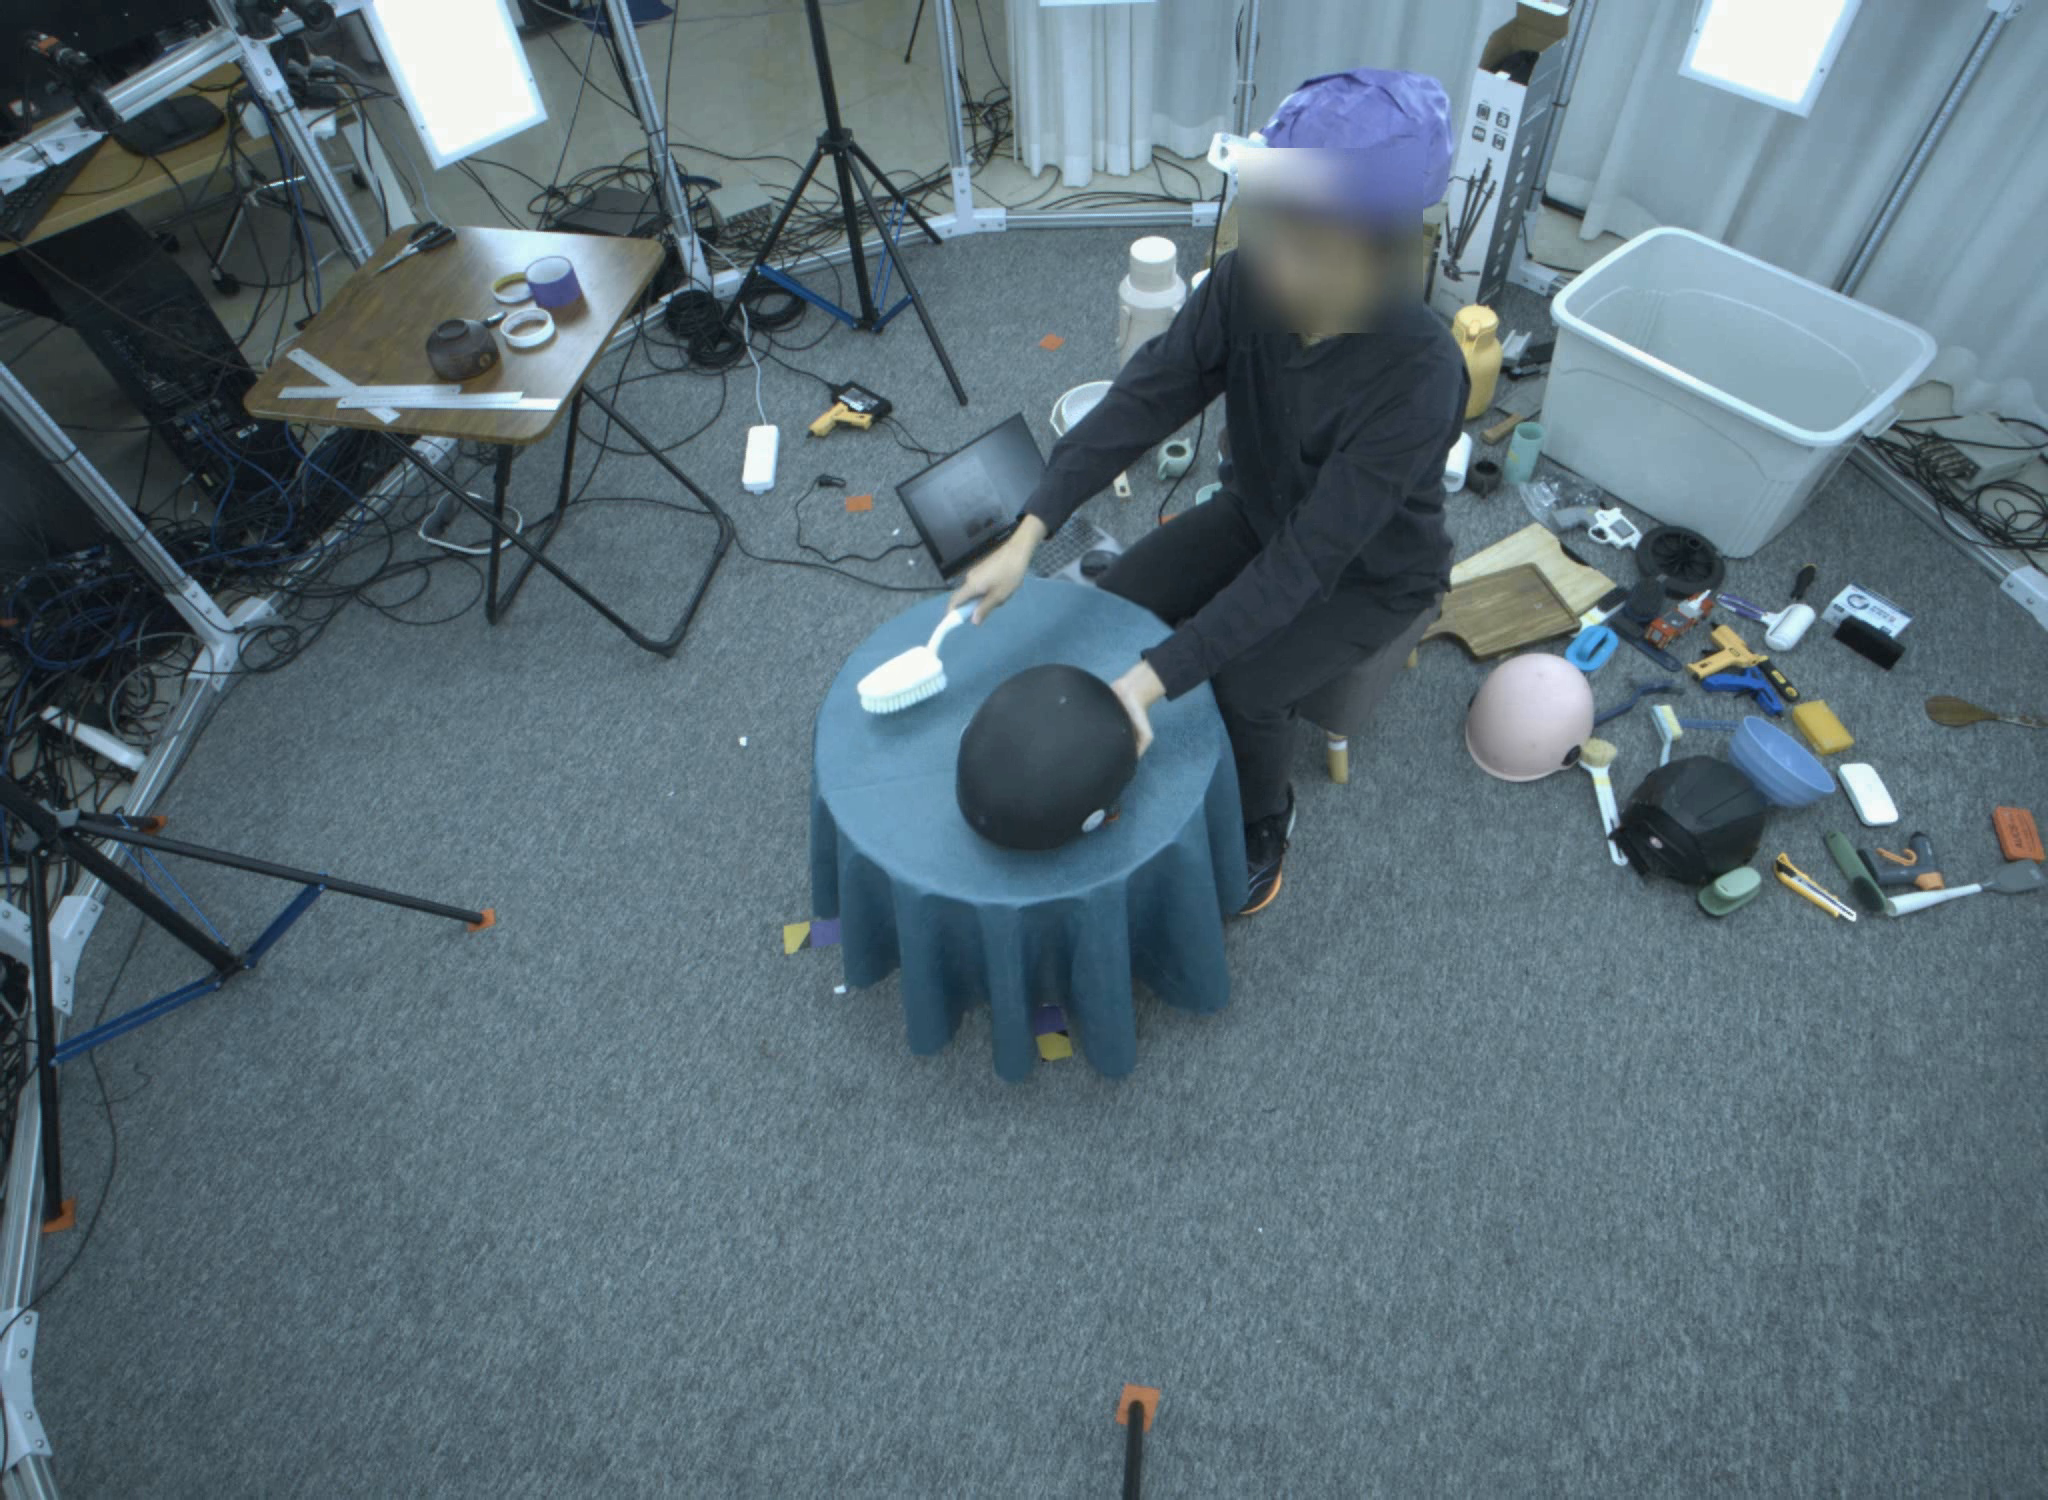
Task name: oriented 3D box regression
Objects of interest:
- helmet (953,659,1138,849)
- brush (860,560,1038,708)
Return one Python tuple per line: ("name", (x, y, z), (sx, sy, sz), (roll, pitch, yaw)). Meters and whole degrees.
("helmet", (0.027, -0.013, 1.635), (0.226, 0.168, 0.275), (35, 63, 20))
("brush", (-0.100, -0.161, 1.820), (0.327, 0.084, 0.083), (-37, 89, -11))
